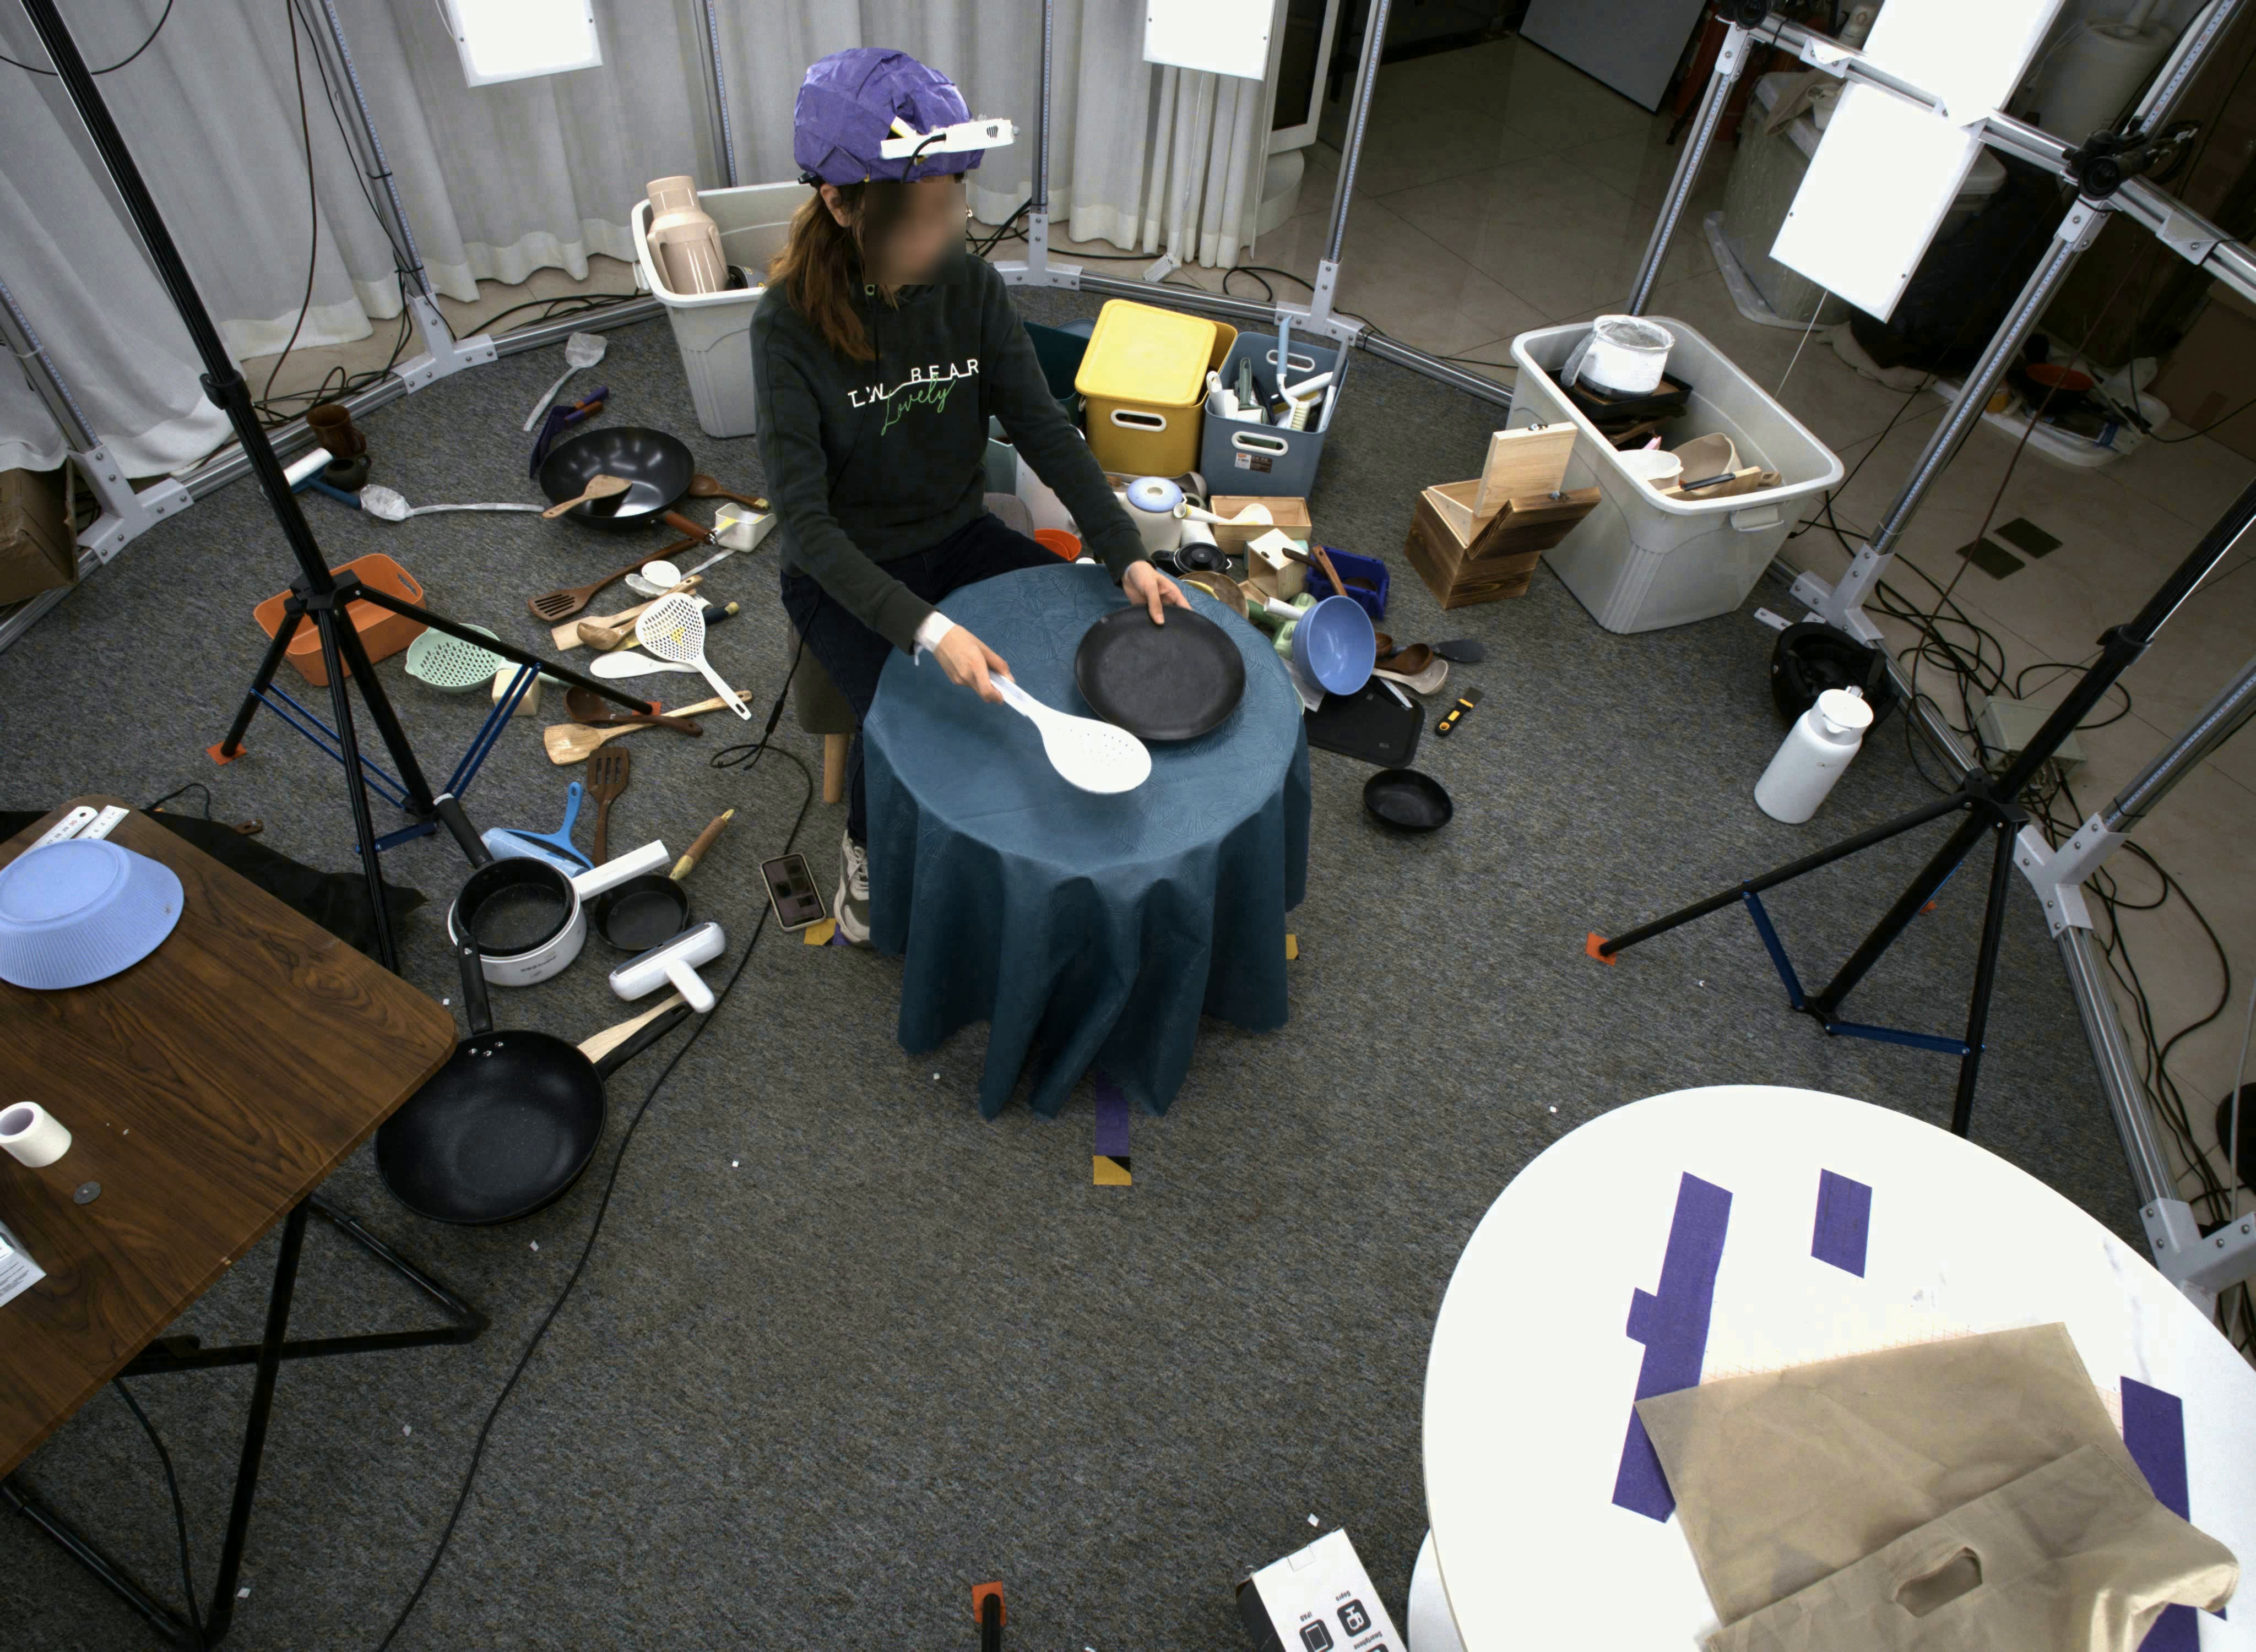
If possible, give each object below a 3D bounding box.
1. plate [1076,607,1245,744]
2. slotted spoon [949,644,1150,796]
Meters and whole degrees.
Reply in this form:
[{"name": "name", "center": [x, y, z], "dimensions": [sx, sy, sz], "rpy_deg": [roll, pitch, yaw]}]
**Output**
[{"name": "plate", "center": [0.046, -0.214, 1.835], "dimensions": [0.244, 0.023, 0.250], "rpy_deg": [2, 57, -4]}, {"name": "slotted spoon", "center": [-0.116, -0.145, 1.714], "dimensions": [0.354, 0.045, 0.137], "rpy_deg": [42, 46, 21]}]
